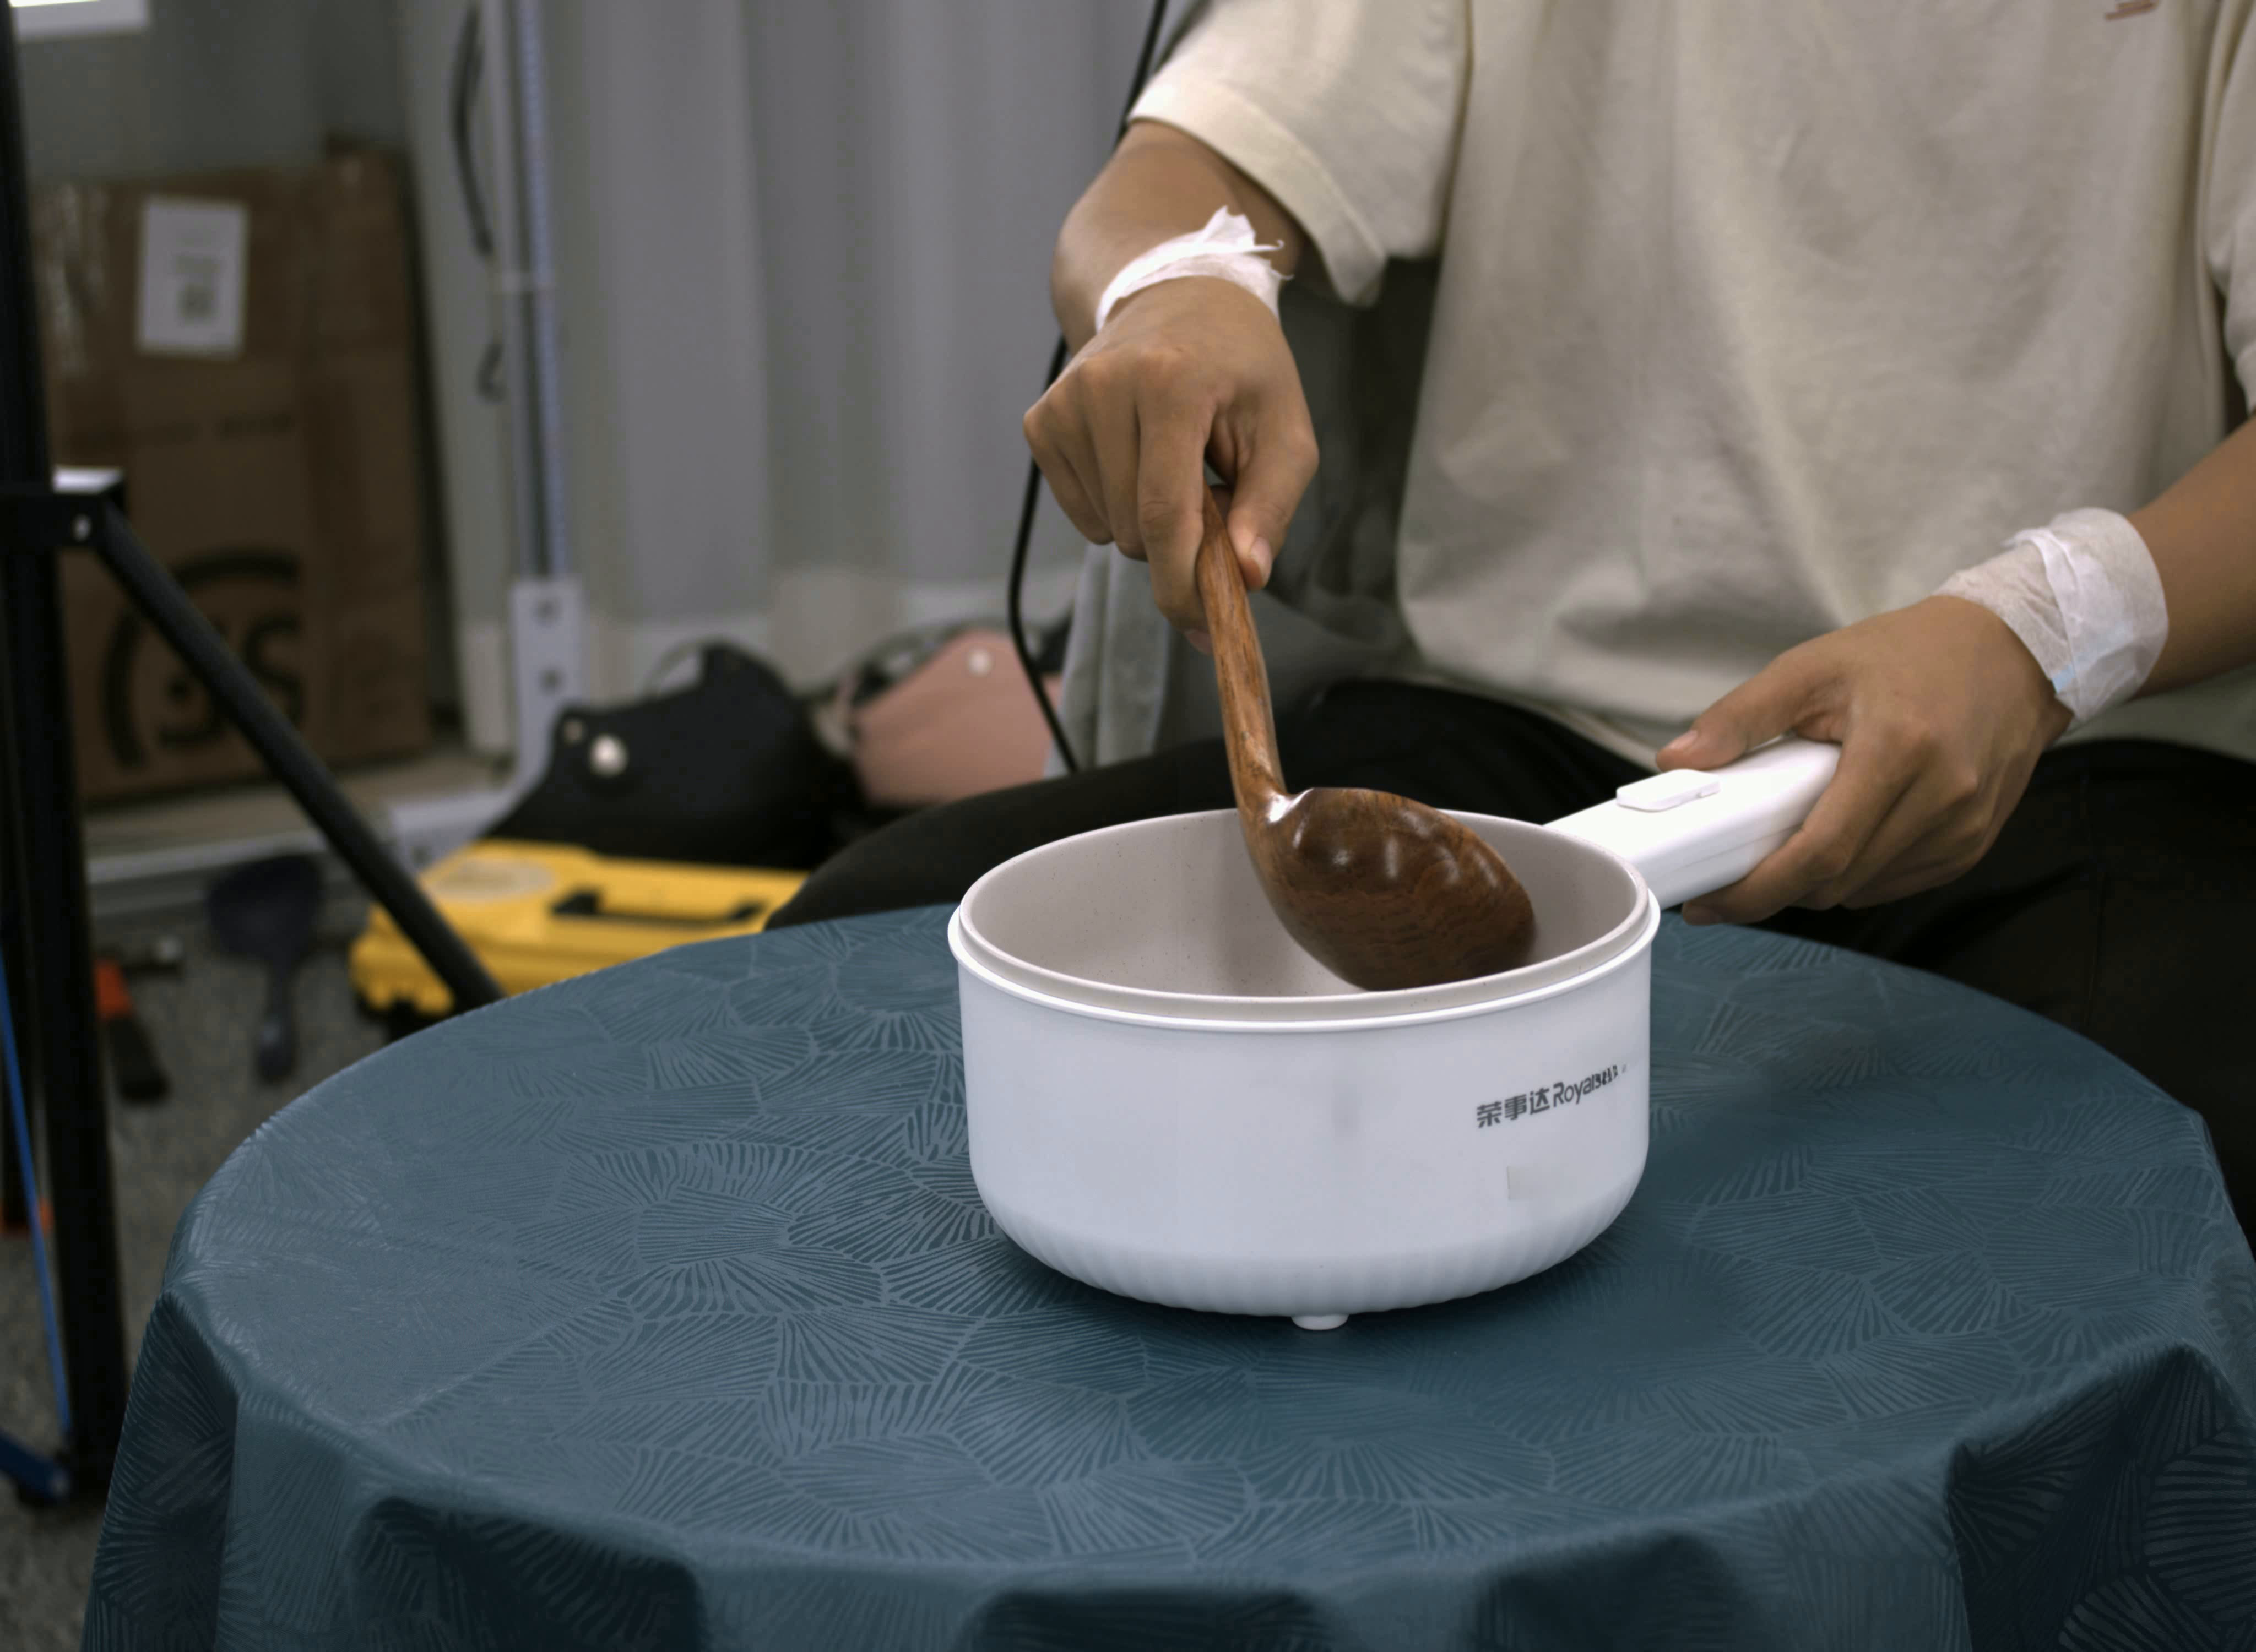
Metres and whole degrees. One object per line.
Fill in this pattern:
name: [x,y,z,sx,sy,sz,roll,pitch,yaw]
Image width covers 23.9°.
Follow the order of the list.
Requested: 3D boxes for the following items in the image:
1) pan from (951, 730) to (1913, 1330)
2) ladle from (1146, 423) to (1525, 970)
pan: [0.106,0.053,1.554,0.346,0.102,0.206,-16,19,-42]
ladle: [0.060,-0.047,1.597,0.076,0.081,0.278,-11,38,-1]
